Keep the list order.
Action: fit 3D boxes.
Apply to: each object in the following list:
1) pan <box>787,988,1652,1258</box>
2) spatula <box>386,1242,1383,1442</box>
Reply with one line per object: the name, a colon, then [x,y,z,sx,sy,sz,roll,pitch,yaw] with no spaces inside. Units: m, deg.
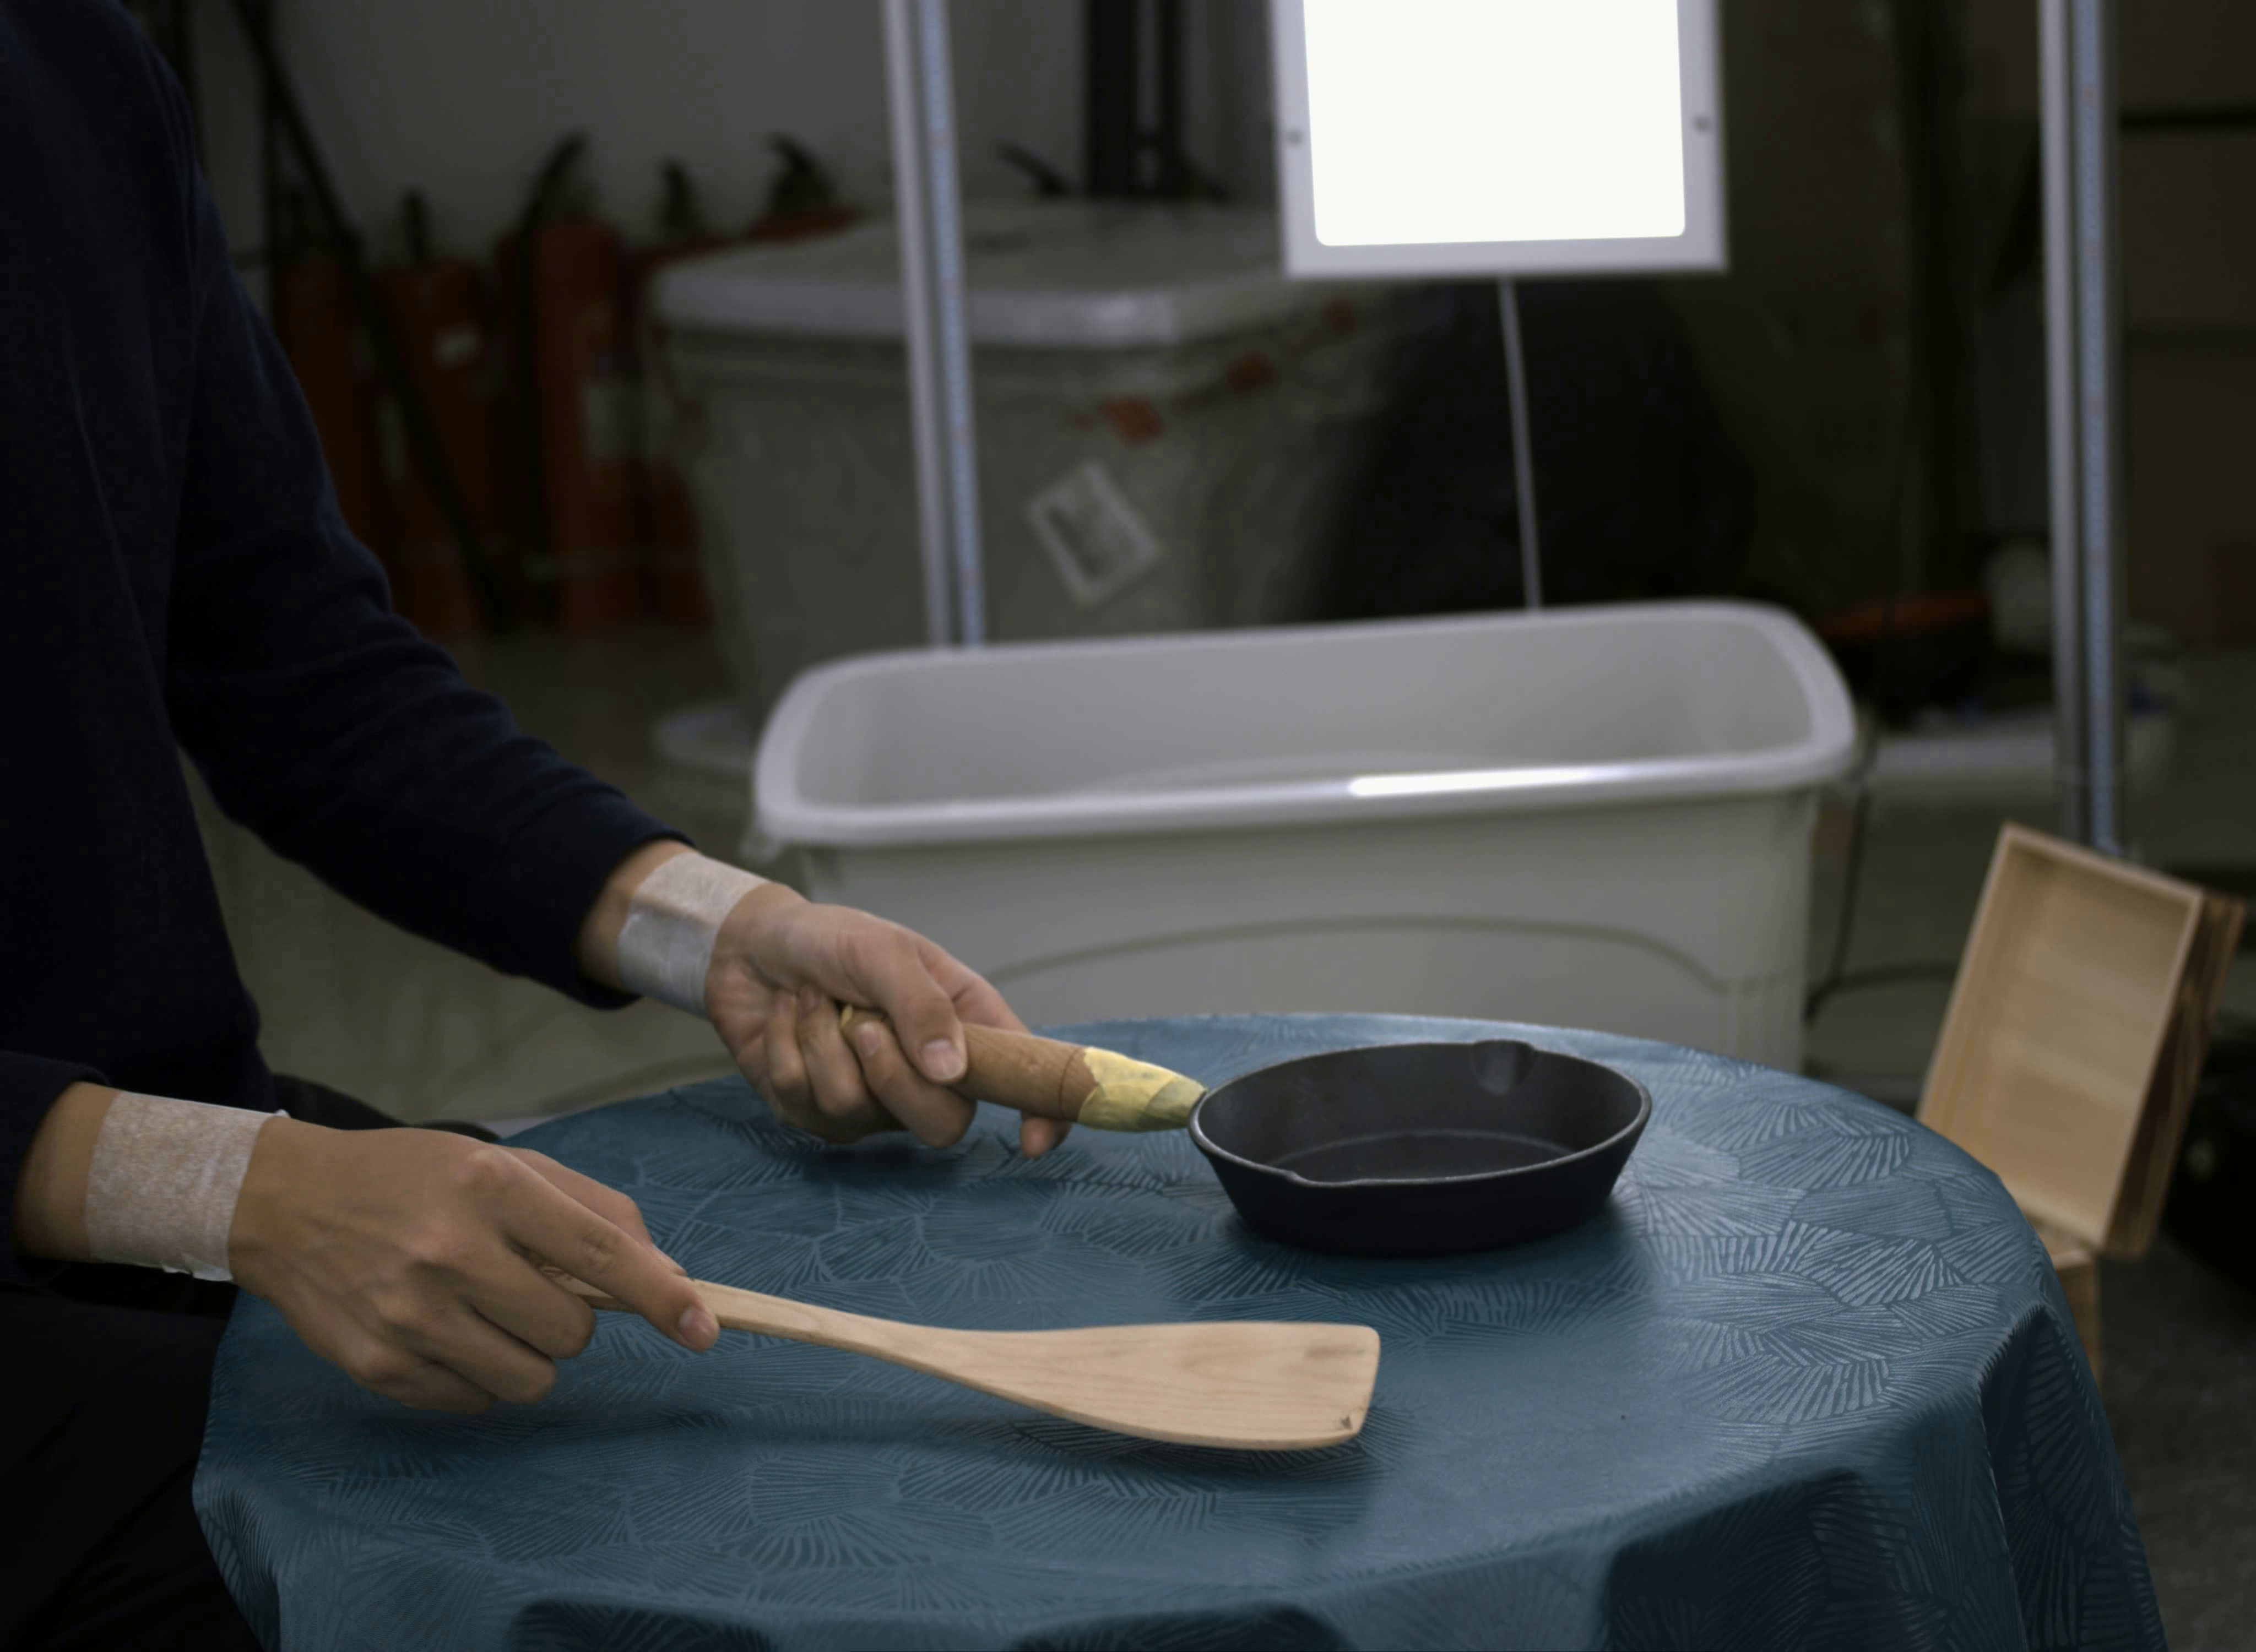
pan: [0.025,0.096,1.896,0.330,0.050,0.165,6,18,30]
spatula: [-0.077,0.151,1.686,0.331,0.016,0.078,7,24,19]
